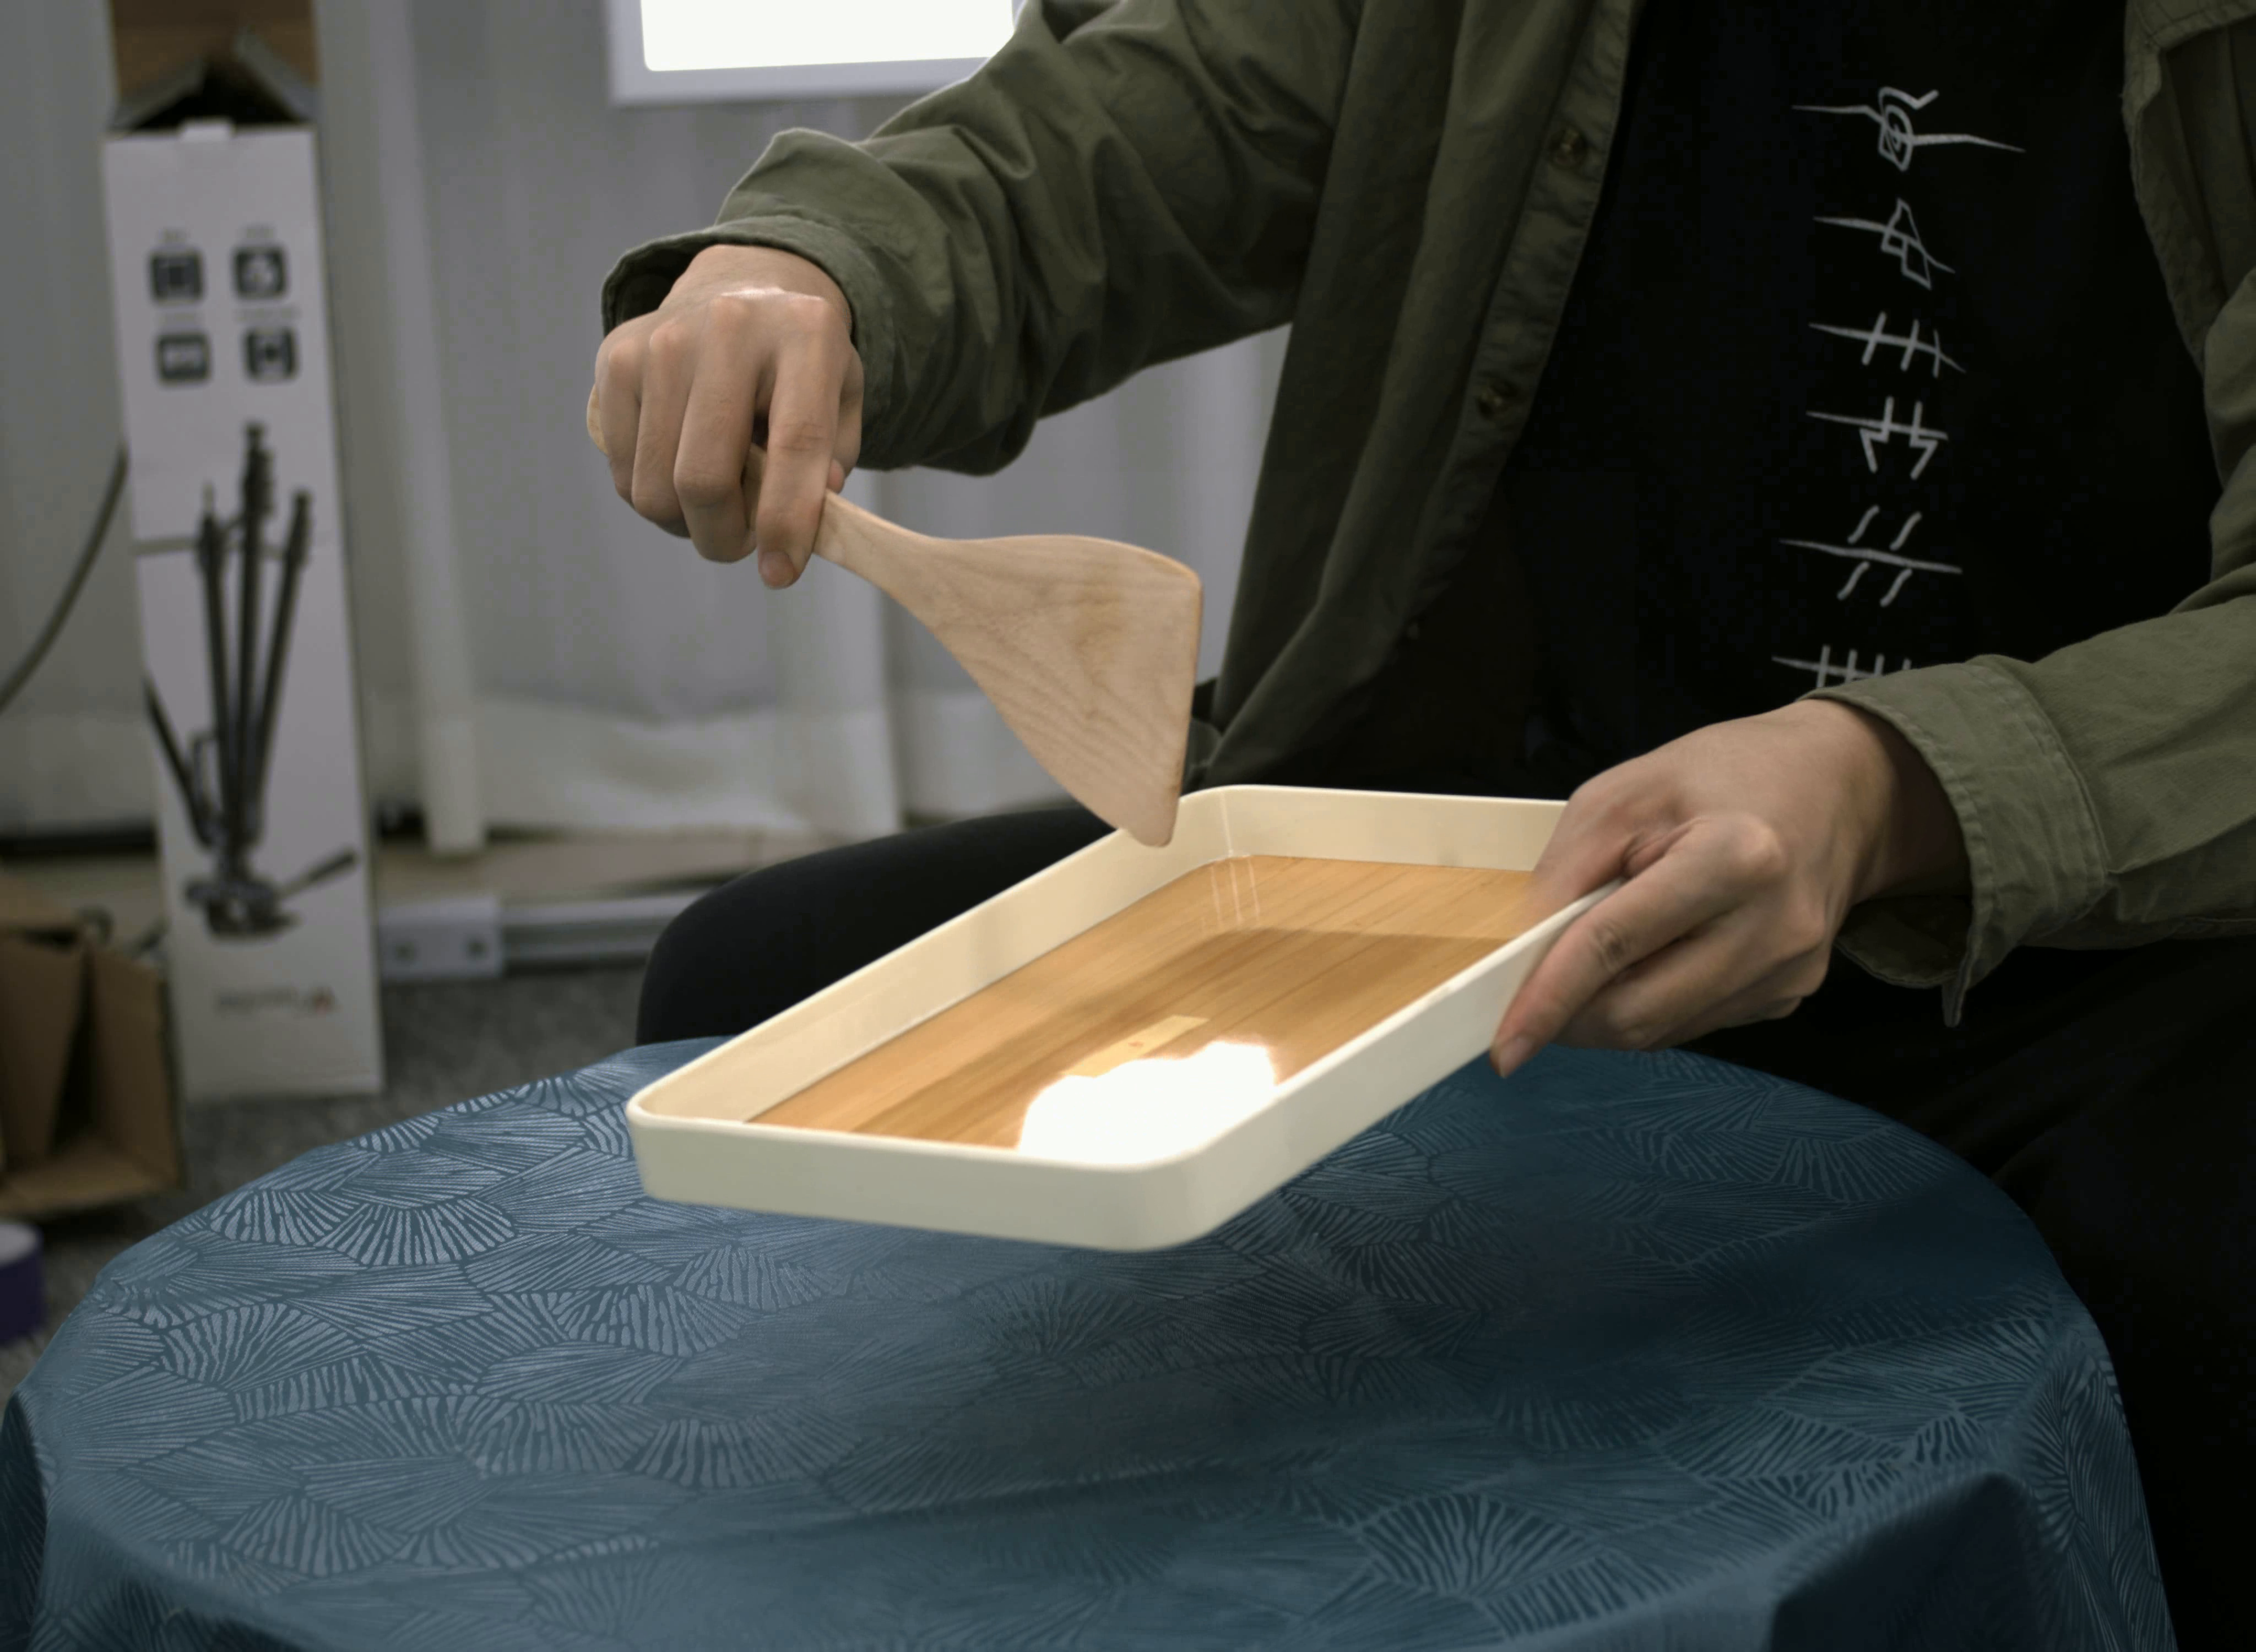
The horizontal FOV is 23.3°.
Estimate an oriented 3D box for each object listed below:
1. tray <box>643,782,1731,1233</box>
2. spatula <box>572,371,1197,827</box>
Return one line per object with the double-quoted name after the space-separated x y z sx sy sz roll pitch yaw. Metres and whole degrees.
0.023 0.046 1.556 0.192 0.027 0.300 4 19 36 "tray"
-0.079 -0.086 1.650 0.016 0.080 0.330 2 17 -41 "spatula"
